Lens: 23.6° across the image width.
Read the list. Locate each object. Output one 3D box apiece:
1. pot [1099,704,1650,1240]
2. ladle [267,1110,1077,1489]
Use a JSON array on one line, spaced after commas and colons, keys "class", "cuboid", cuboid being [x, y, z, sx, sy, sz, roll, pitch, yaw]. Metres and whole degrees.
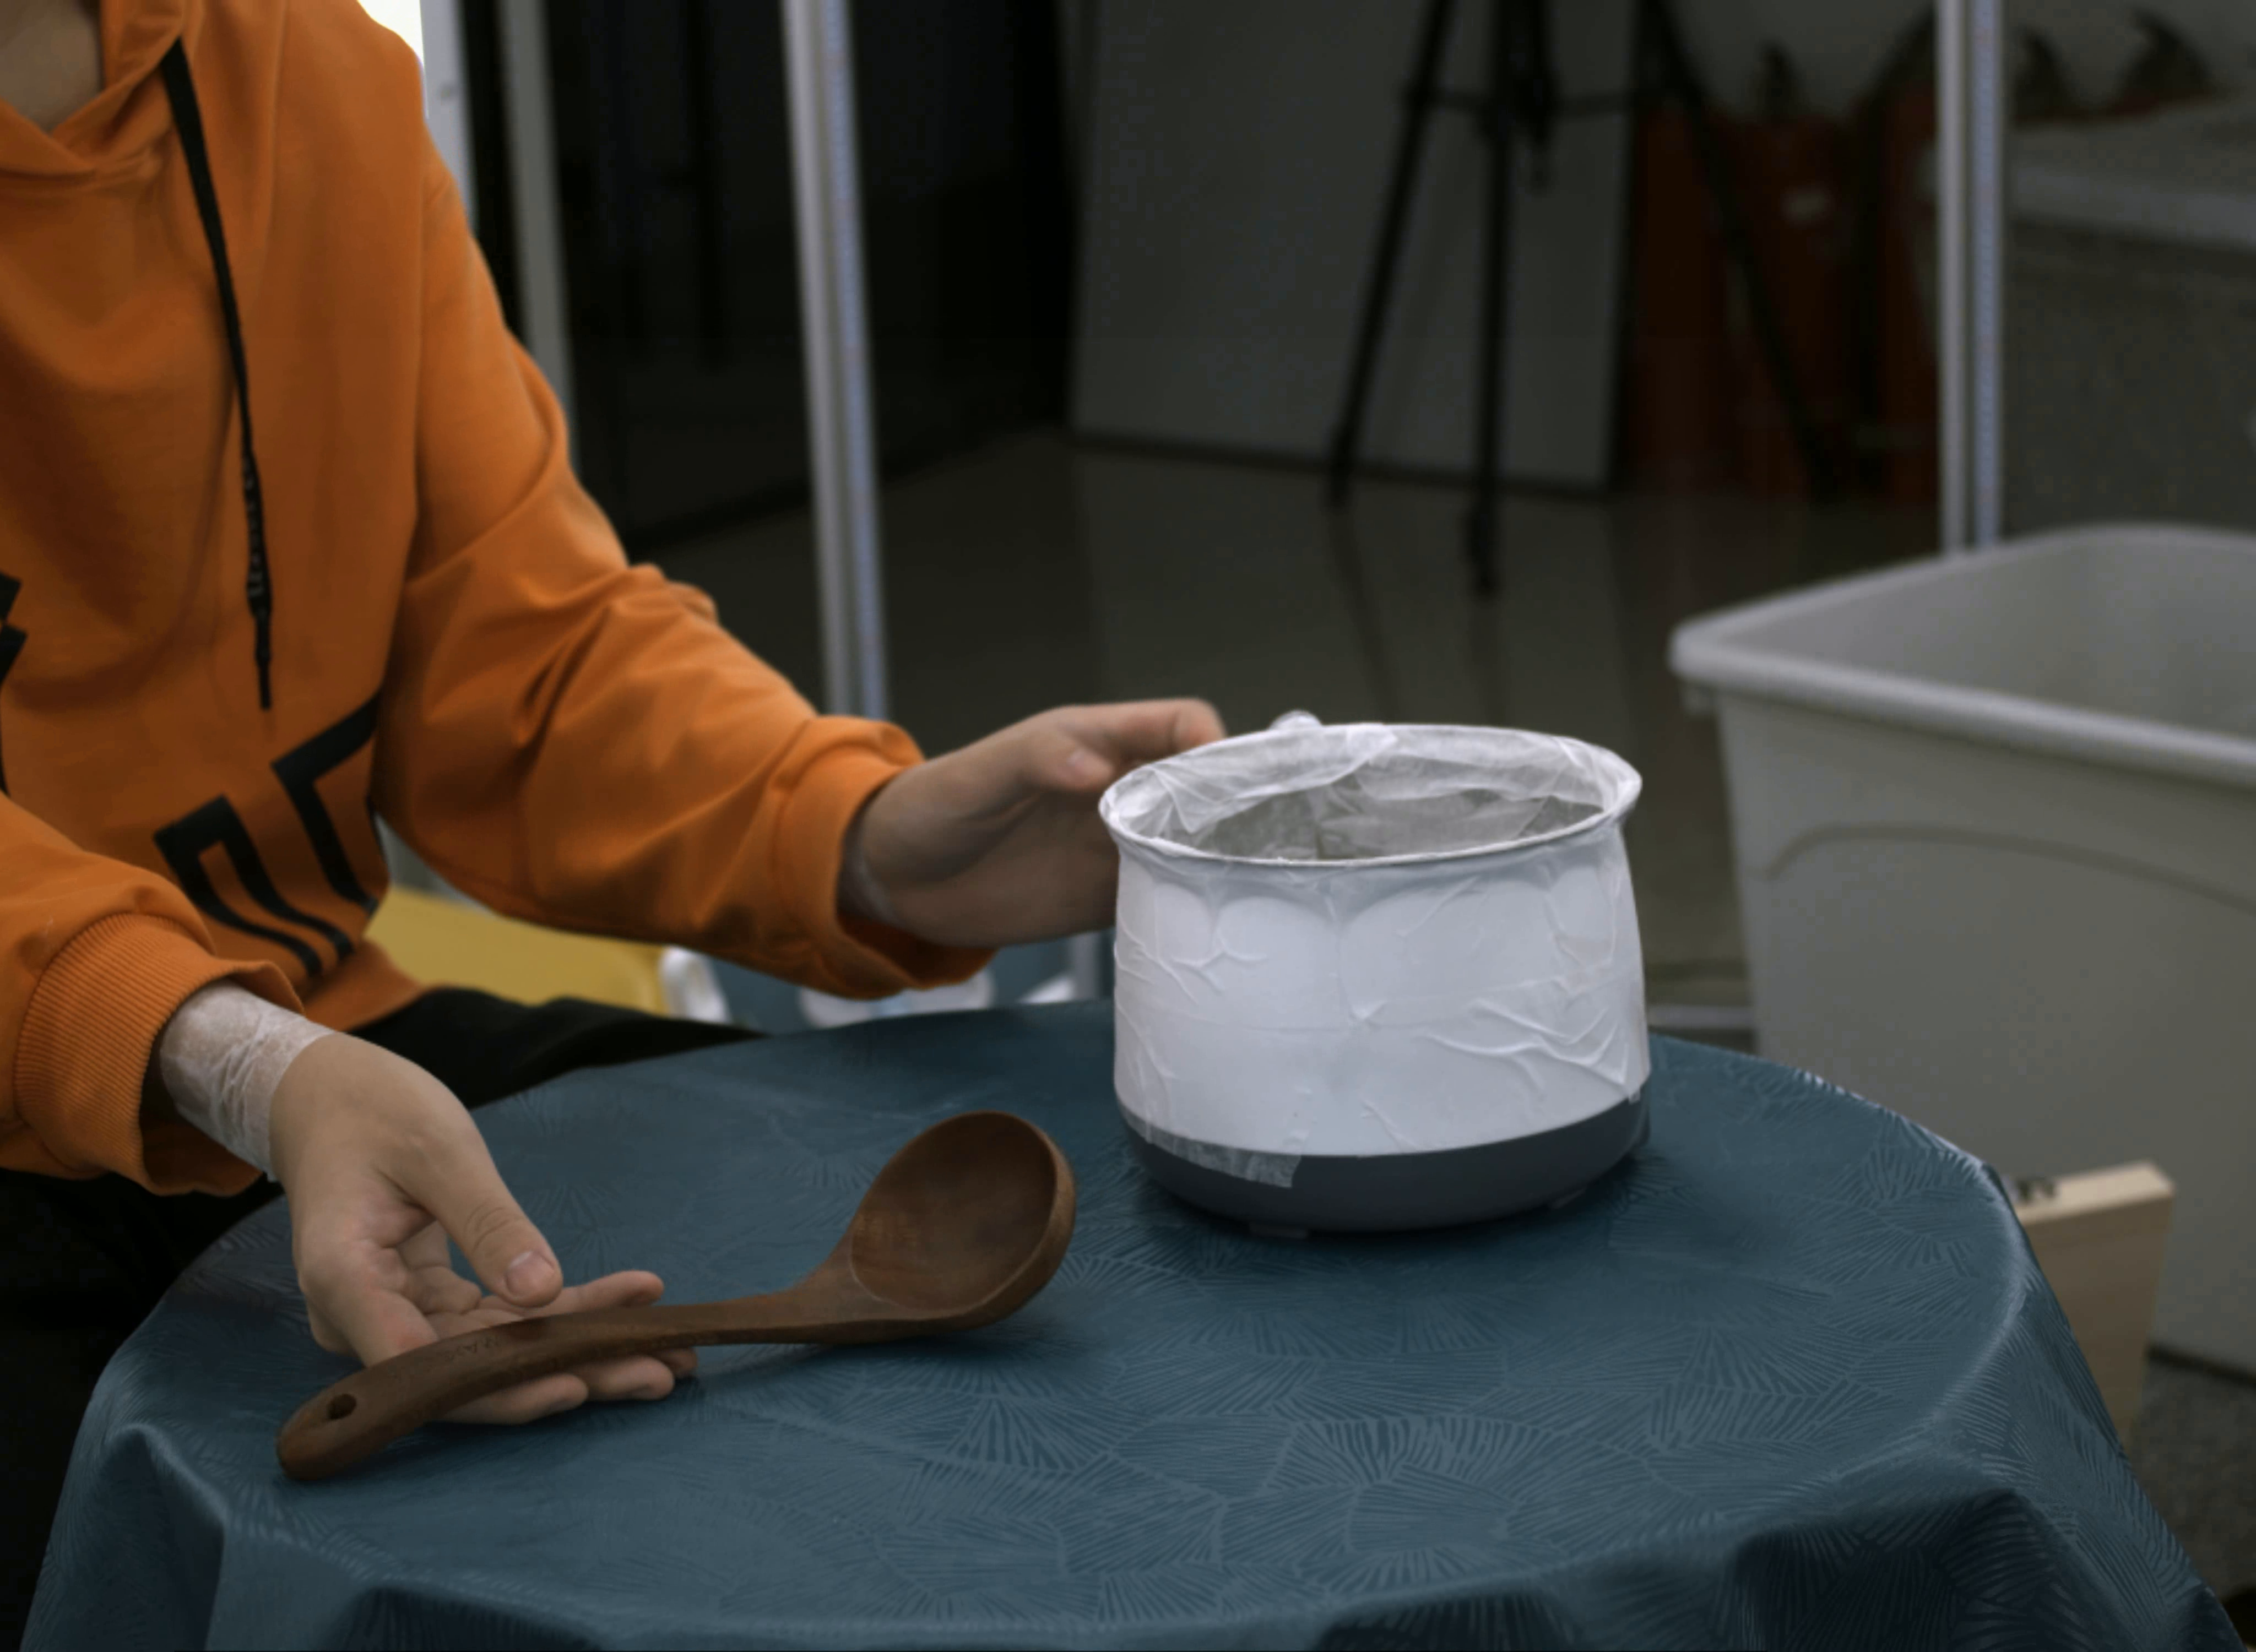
[{"class": "pot", "cuboid": [0.075, 0.042, 1.778, 0.175, 0.138, 0.235, -6, 14, -12]}, {"class": "ladle", "cuboid": [-0.133, 0.139, 1.604, 0.254, 0.066, 0.077, -10, 29, -27]}]
